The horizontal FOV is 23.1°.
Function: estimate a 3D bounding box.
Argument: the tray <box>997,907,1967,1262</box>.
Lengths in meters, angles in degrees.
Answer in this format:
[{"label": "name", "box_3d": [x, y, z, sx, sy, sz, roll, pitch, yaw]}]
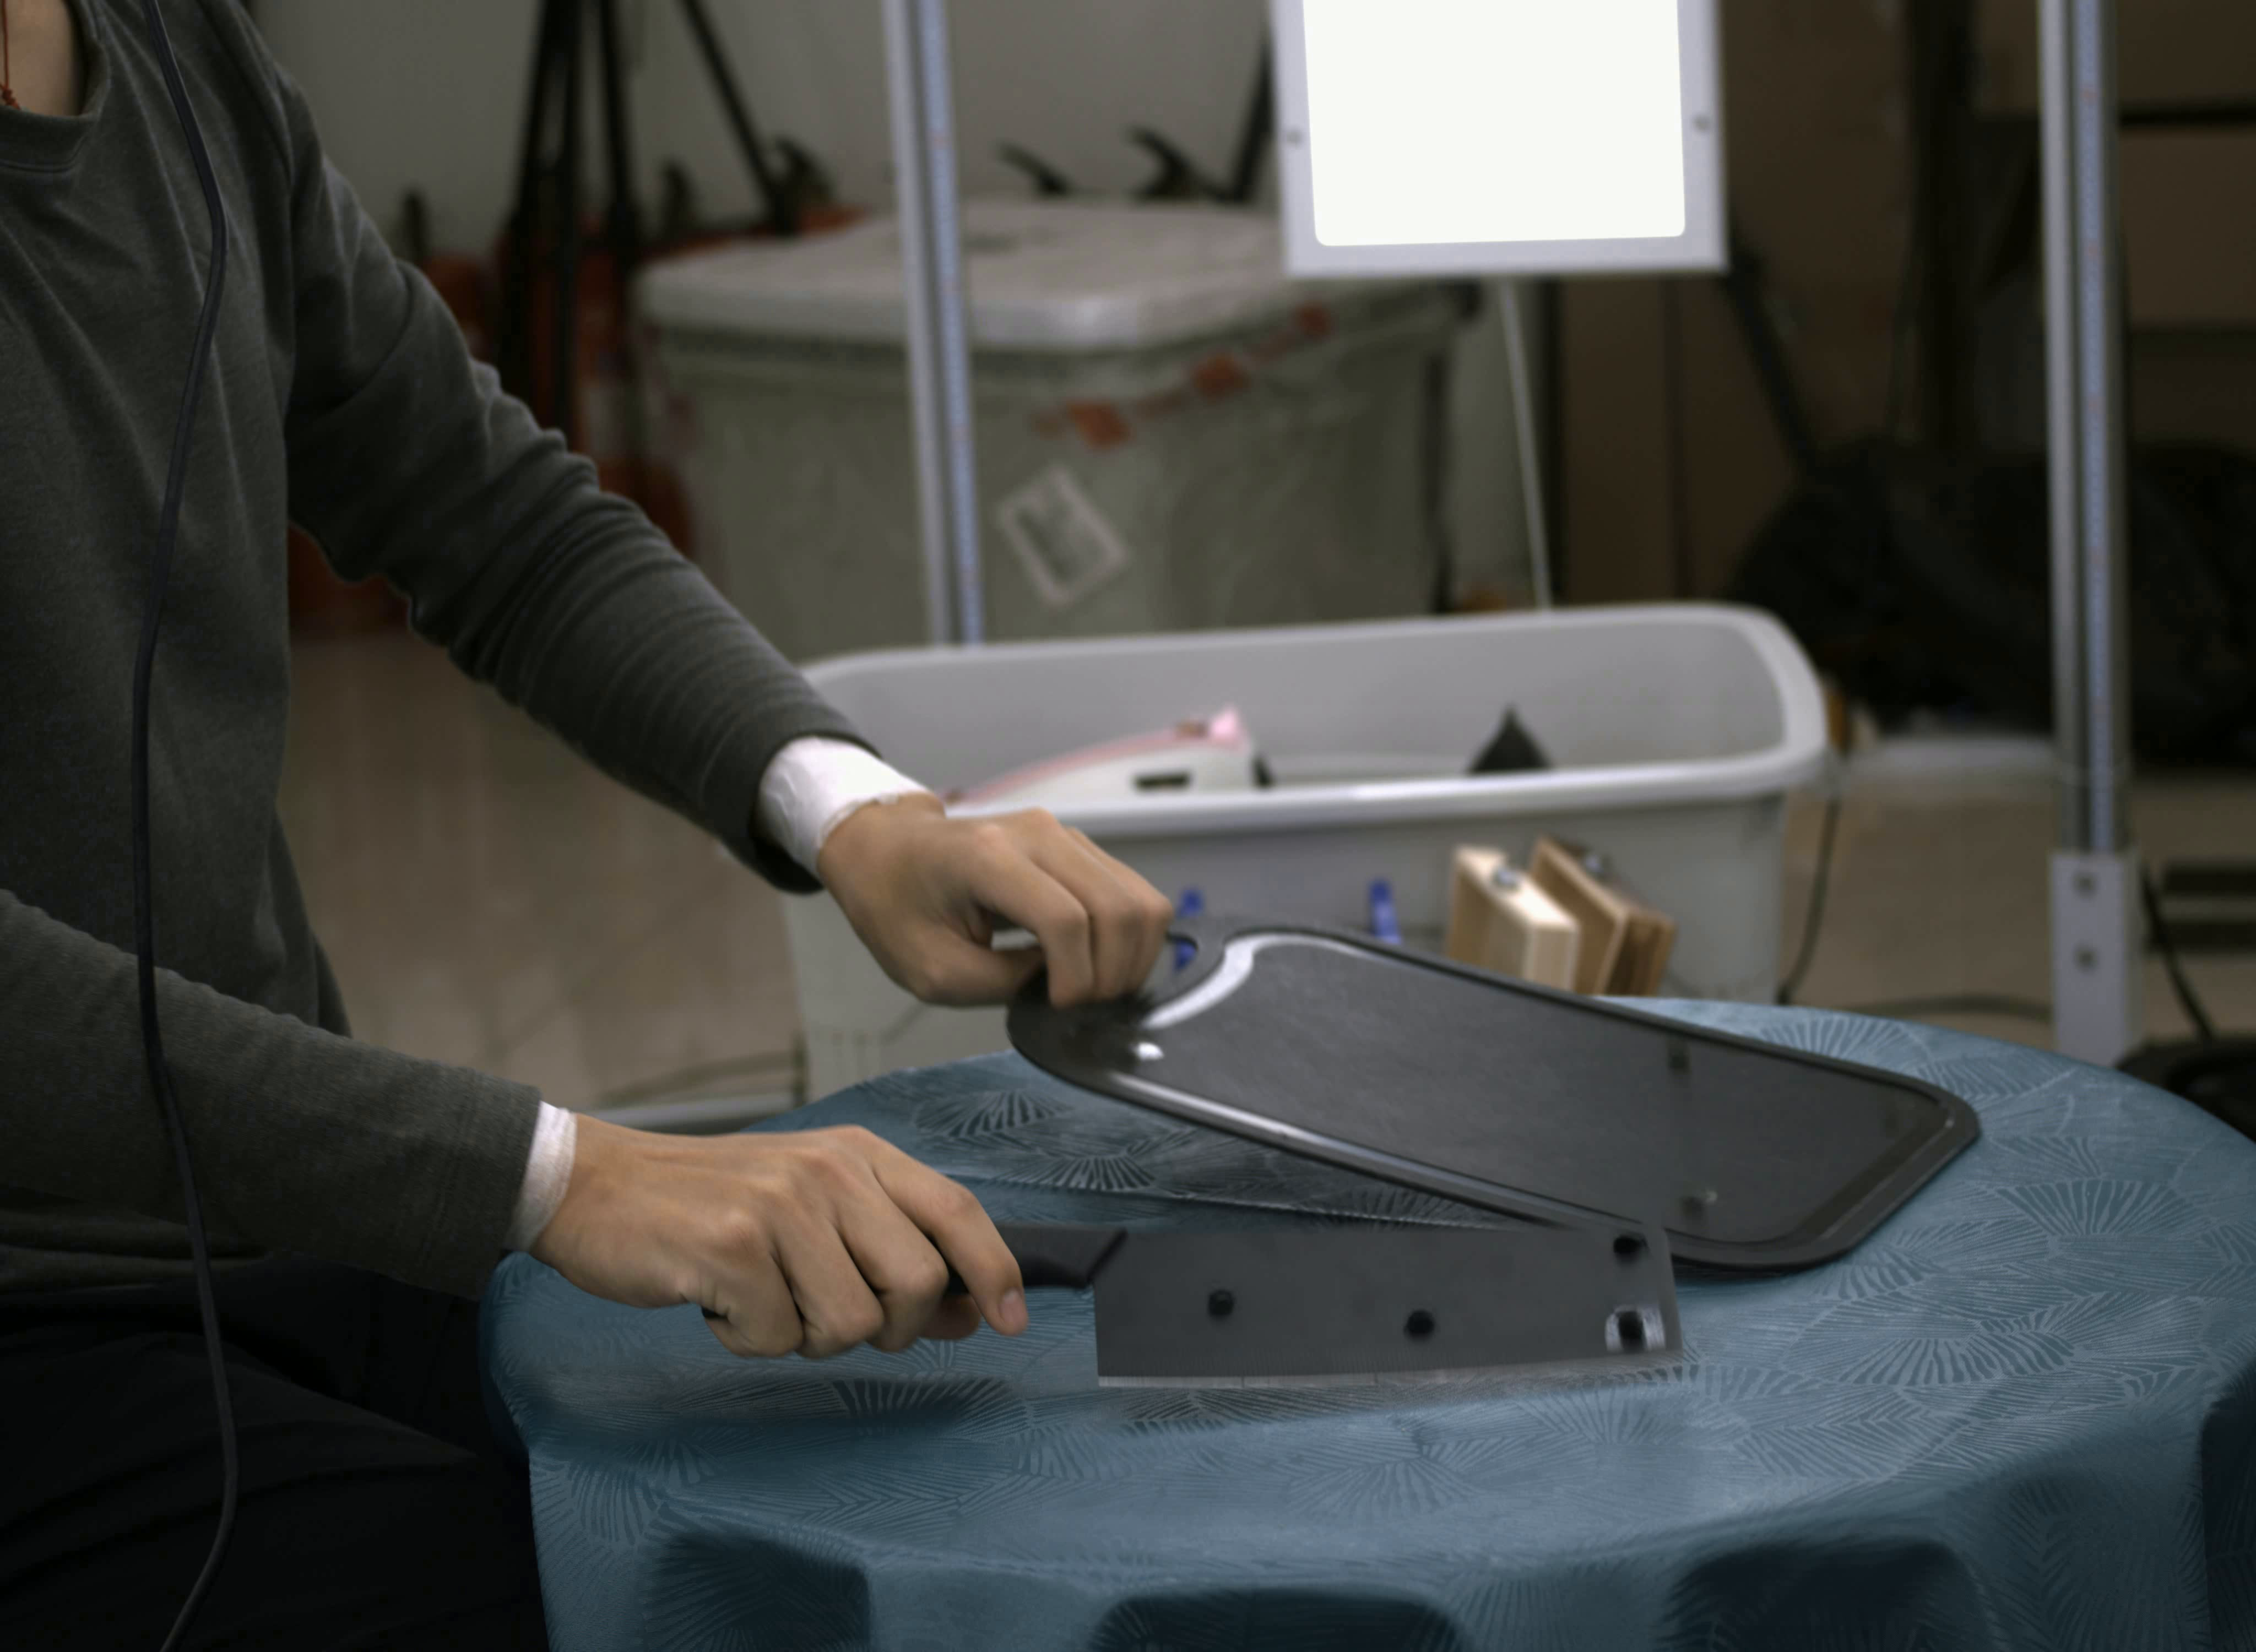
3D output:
[{"label": "tray", "box_3d": [0.117, 0.082, 1.896, 0.330, 0.010, 0.206, 15, 21, 27]}]

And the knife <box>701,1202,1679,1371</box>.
[{"label": "knife", "box_3d": [0.019, 0.141, 1.701, 0.302, 0.021, 0.080, 0, 38, 4]}]
